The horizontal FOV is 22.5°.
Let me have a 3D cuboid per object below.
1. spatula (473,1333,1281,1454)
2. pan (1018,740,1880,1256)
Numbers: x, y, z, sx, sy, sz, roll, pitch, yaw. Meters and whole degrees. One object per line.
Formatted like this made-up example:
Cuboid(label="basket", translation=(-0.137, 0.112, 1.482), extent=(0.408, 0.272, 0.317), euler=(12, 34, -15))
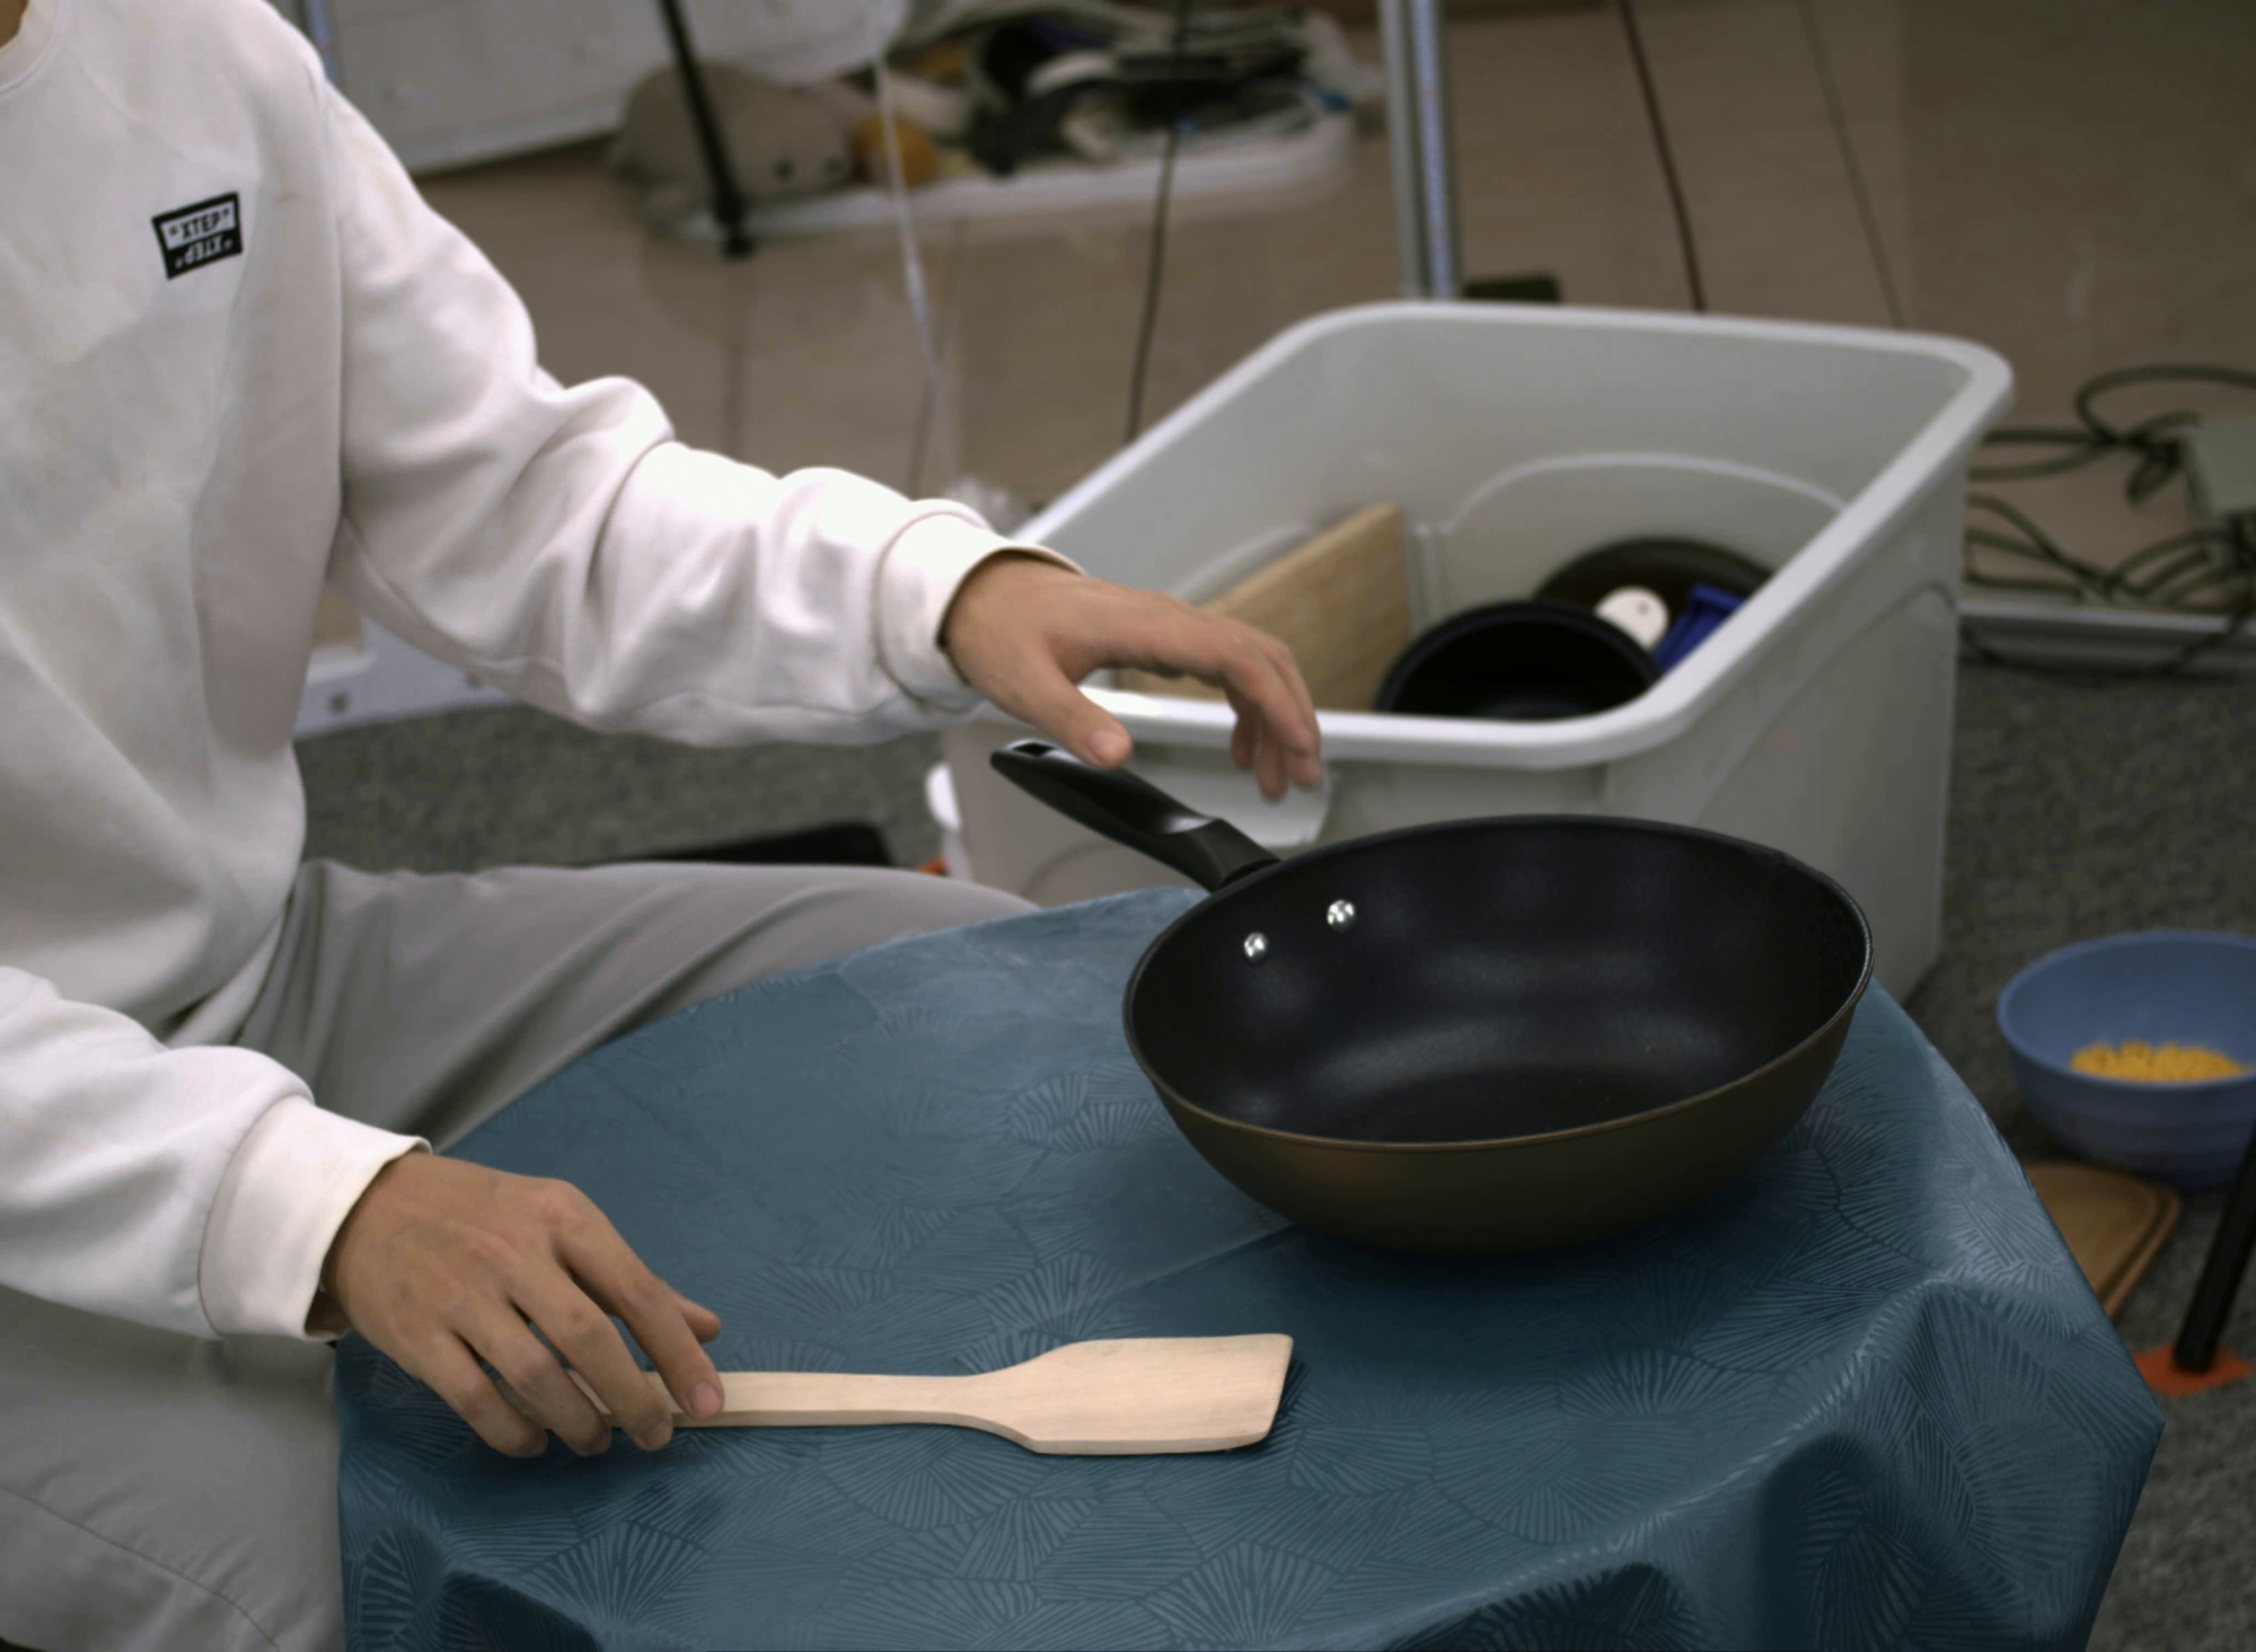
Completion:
Cuboid(label="spatula", translation=(-0.092, 0.203, 2.020), extent=(0.292, 0.011, 0.071), euler=(-2, 26, 11))
Cuboid(label="pan", translation=(0.089, 0.063, 2.189), extent=(0.286, 0.088, 0.459), euler=(-21, 27, -30))
